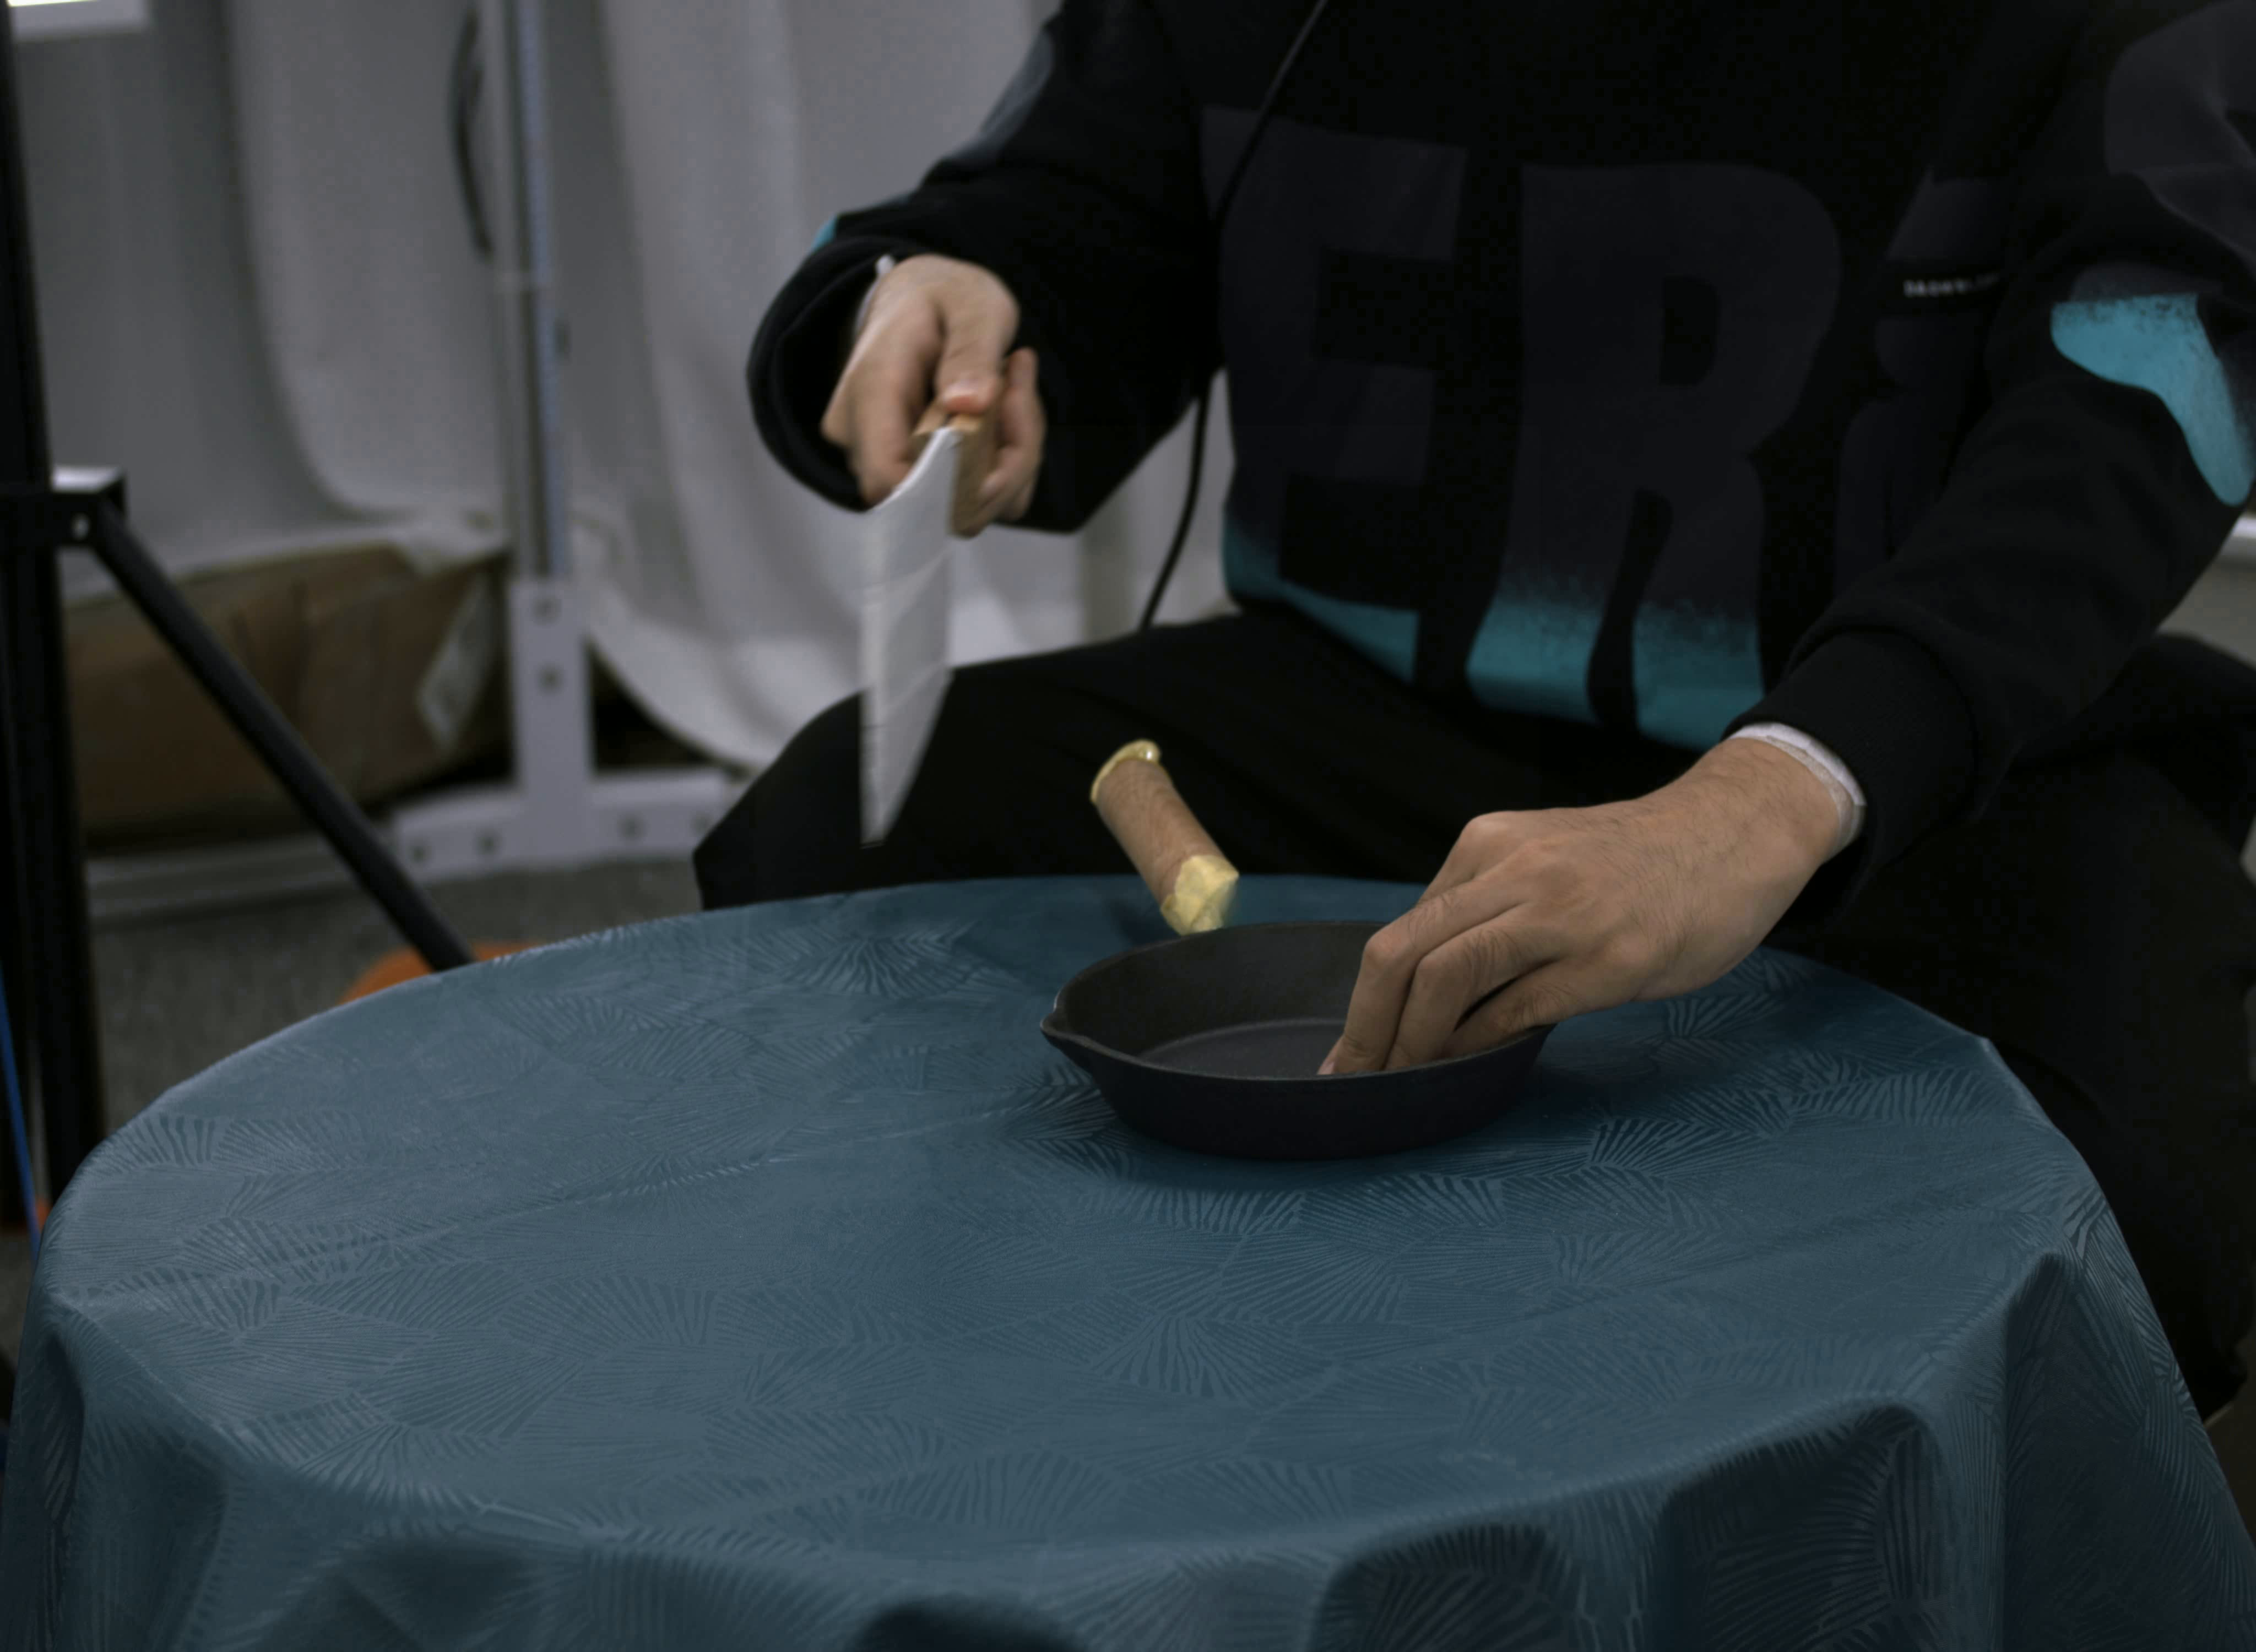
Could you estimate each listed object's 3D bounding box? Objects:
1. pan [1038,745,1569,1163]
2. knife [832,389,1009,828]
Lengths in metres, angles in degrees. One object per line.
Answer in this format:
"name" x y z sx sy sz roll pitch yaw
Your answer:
"pan" 0.035 0.038 1.708 0.166 0.049 0.329 -7 17 -12
"knife" -0.067 -0.087 1.695 0.022 0.114 0.315 3 20 5
